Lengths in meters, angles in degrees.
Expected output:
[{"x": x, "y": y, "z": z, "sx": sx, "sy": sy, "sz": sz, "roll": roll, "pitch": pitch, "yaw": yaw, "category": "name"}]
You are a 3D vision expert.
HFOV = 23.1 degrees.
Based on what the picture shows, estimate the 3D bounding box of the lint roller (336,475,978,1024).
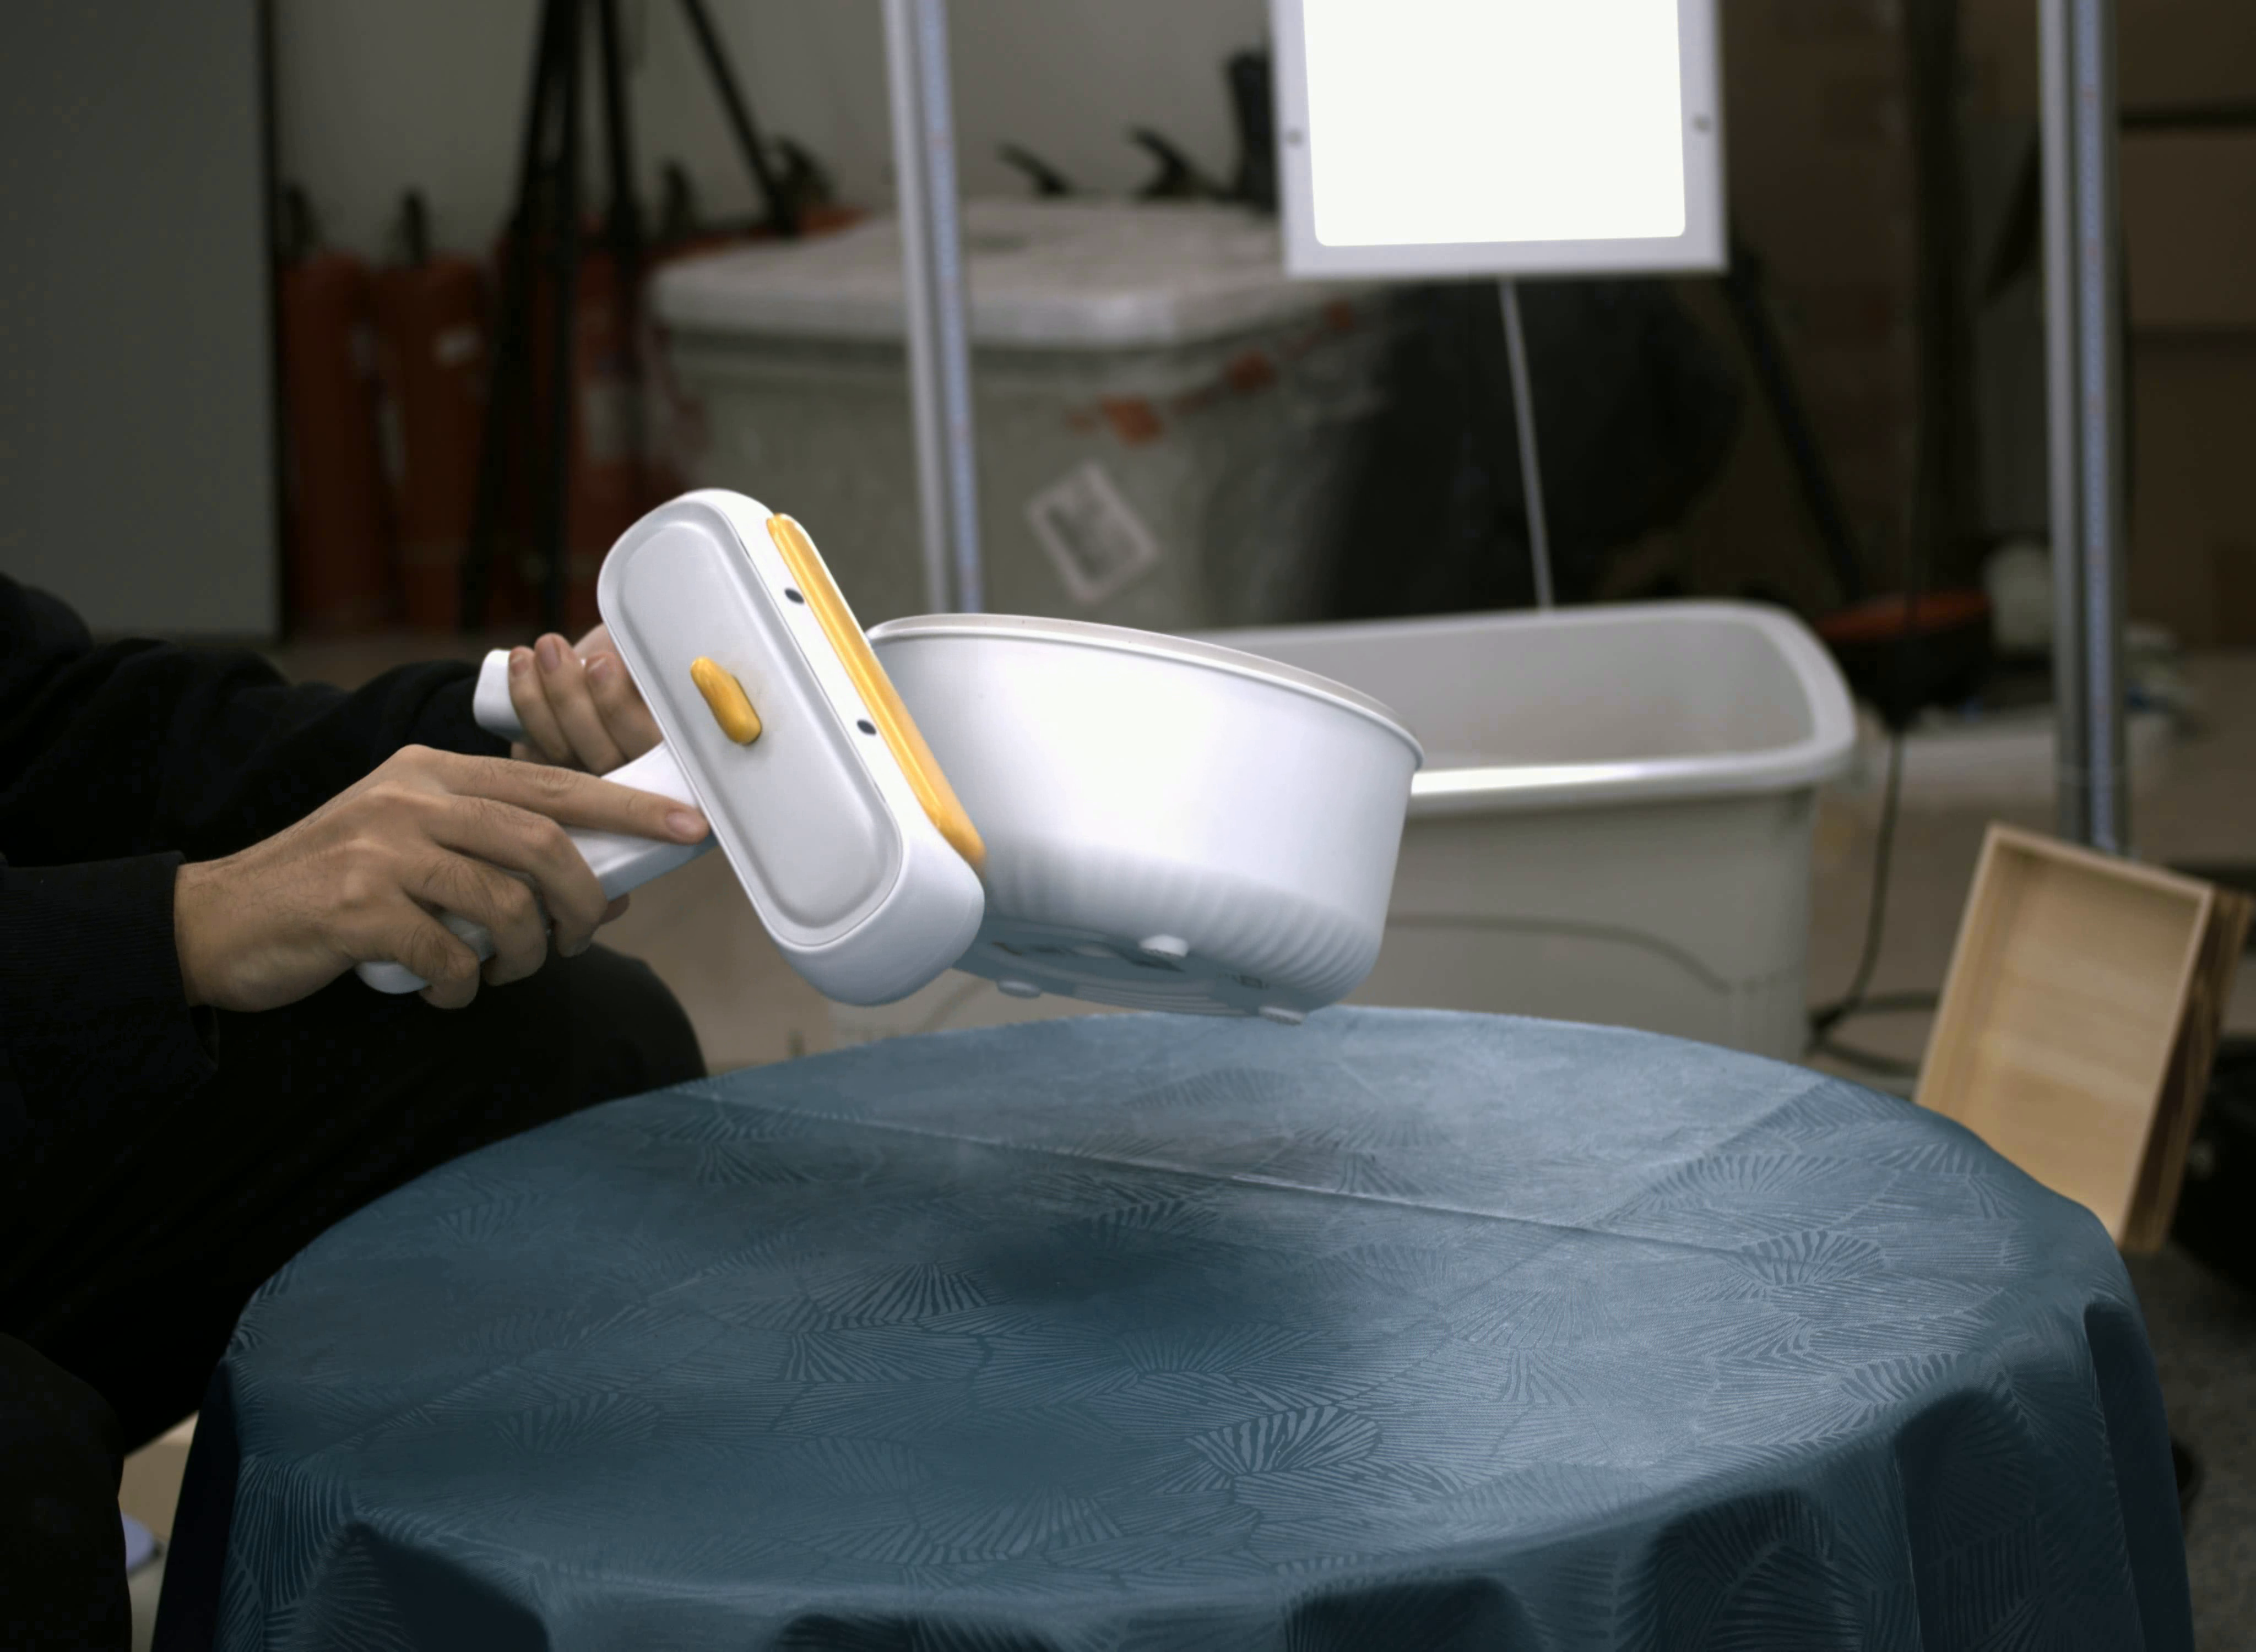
[{"x": -0.162, "y": 0.000, "z": 1.755, "sx": 0.193, "sy": 0.194, "sz": 0.073, "roll": -37, "pitch": -28, "yaw": 5, "category": "lint roller"}]

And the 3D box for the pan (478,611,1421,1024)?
[{"x": -0.074, "y": -0.003, "z": 1.915, "sx": 0.361, "sy": 0.102, "sz": 0.198, "roll": 4, "pitch": -12, "yaw": 28, "category": "pan"}]
